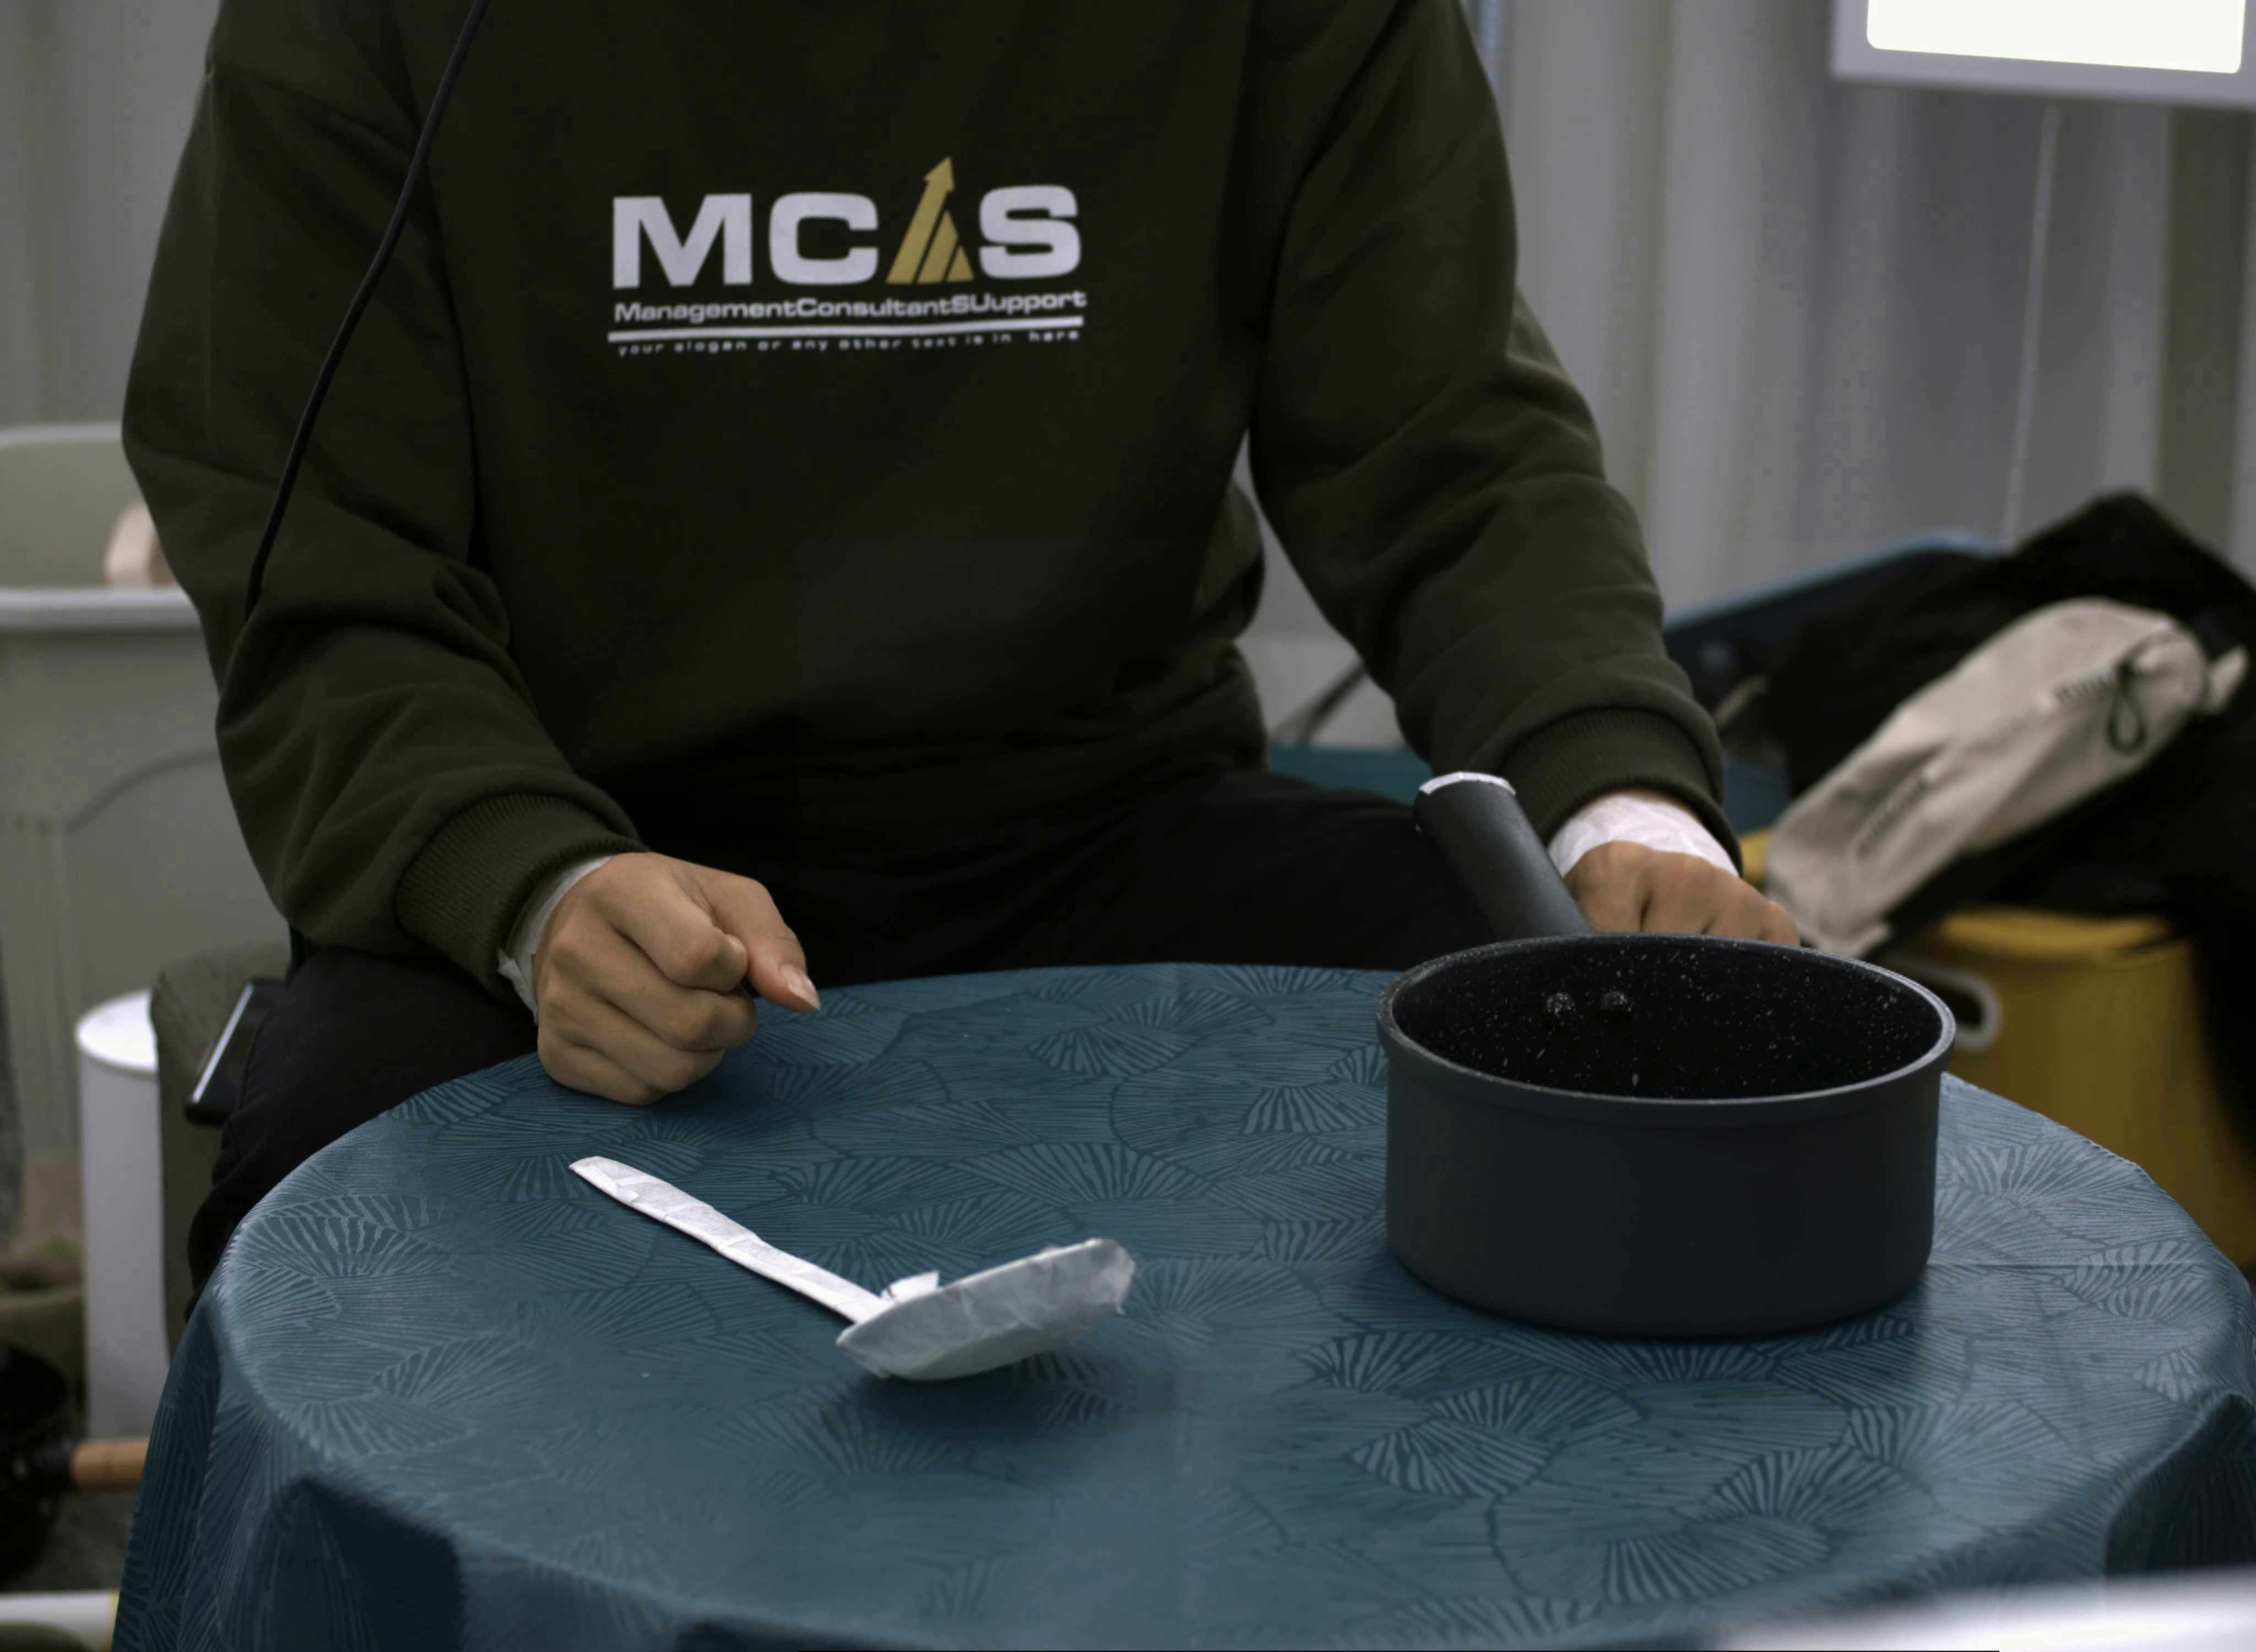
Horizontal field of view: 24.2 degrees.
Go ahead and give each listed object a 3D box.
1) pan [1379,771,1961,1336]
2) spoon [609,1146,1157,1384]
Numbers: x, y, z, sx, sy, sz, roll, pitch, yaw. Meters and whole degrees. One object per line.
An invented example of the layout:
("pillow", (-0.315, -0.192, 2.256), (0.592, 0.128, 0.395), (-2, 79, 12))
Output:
("pan", (0.147, 0.067, 1.638), (0.172, 0.087, 0.326), (-1, 16, -8))
("spoon", (-0.084, 0.109, 1.534), (0.101, 0.060, 0.274), (-6, 16, -30))
